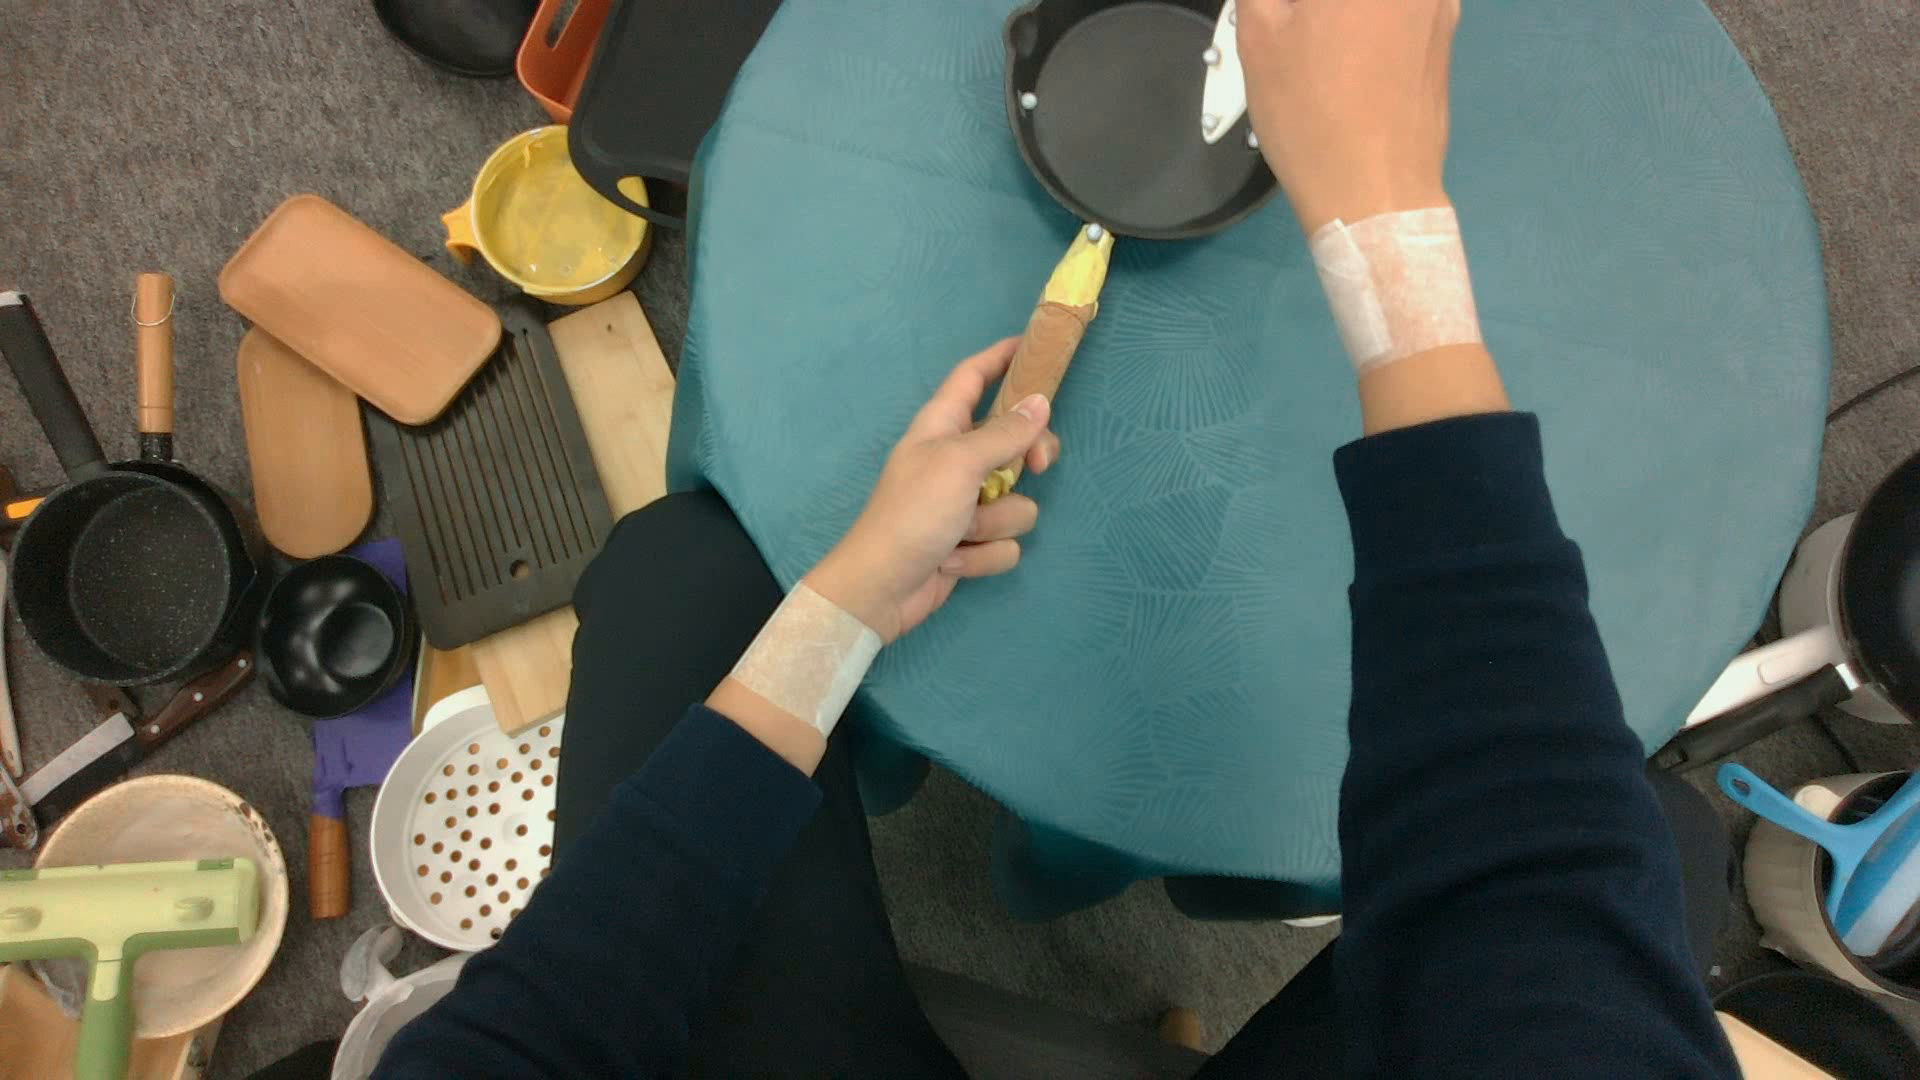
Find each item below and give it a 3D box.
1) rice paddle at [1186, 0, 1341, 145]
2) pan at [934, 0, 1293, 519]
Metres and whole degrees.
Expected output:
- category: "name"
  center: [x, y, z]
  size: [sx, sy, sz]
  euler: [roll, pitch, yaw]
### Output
- category: "rice paddle"
  center: [0.128, -0.224, 0.611]
  size: [0.029, 0.205, 0.069]
  euler: [7, 93, -7]
- category: "pan"
  center: [0.056, -0.157, 0.690]
  size: [0.169, 0.049, 0.325]
  euler: [25, 79, 0]
